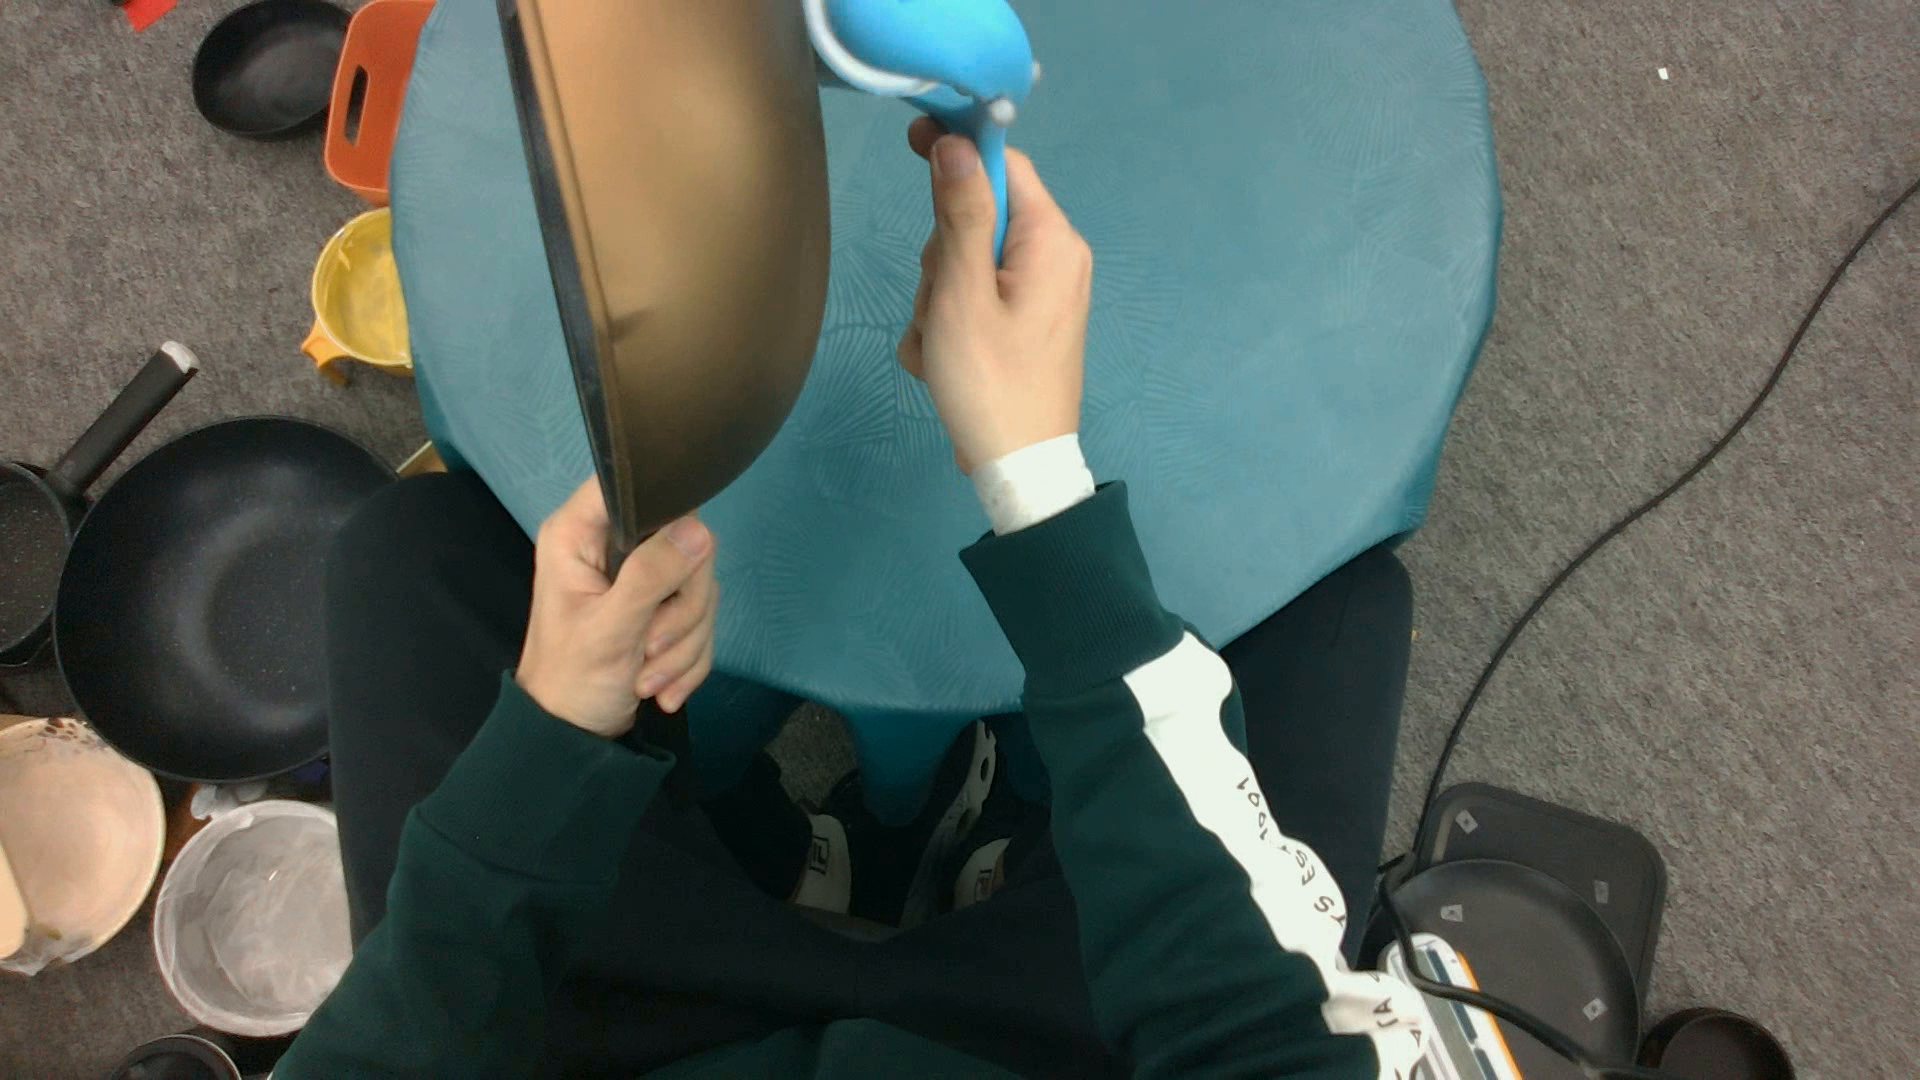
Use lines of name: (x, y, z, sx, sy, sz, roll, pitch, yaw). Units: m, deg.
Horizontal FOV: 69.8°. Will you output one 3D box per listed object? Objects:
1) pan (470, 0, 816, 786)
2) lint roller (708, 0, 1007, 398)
pan: (-0.106, -0.071, 0.502, 0.087, 0.461, 0.289, -15, 41, -15)
lint roller: (-0.027, -0.145, 0.511, 0.068, 0.229, 0.180, -29, 117, -6)
